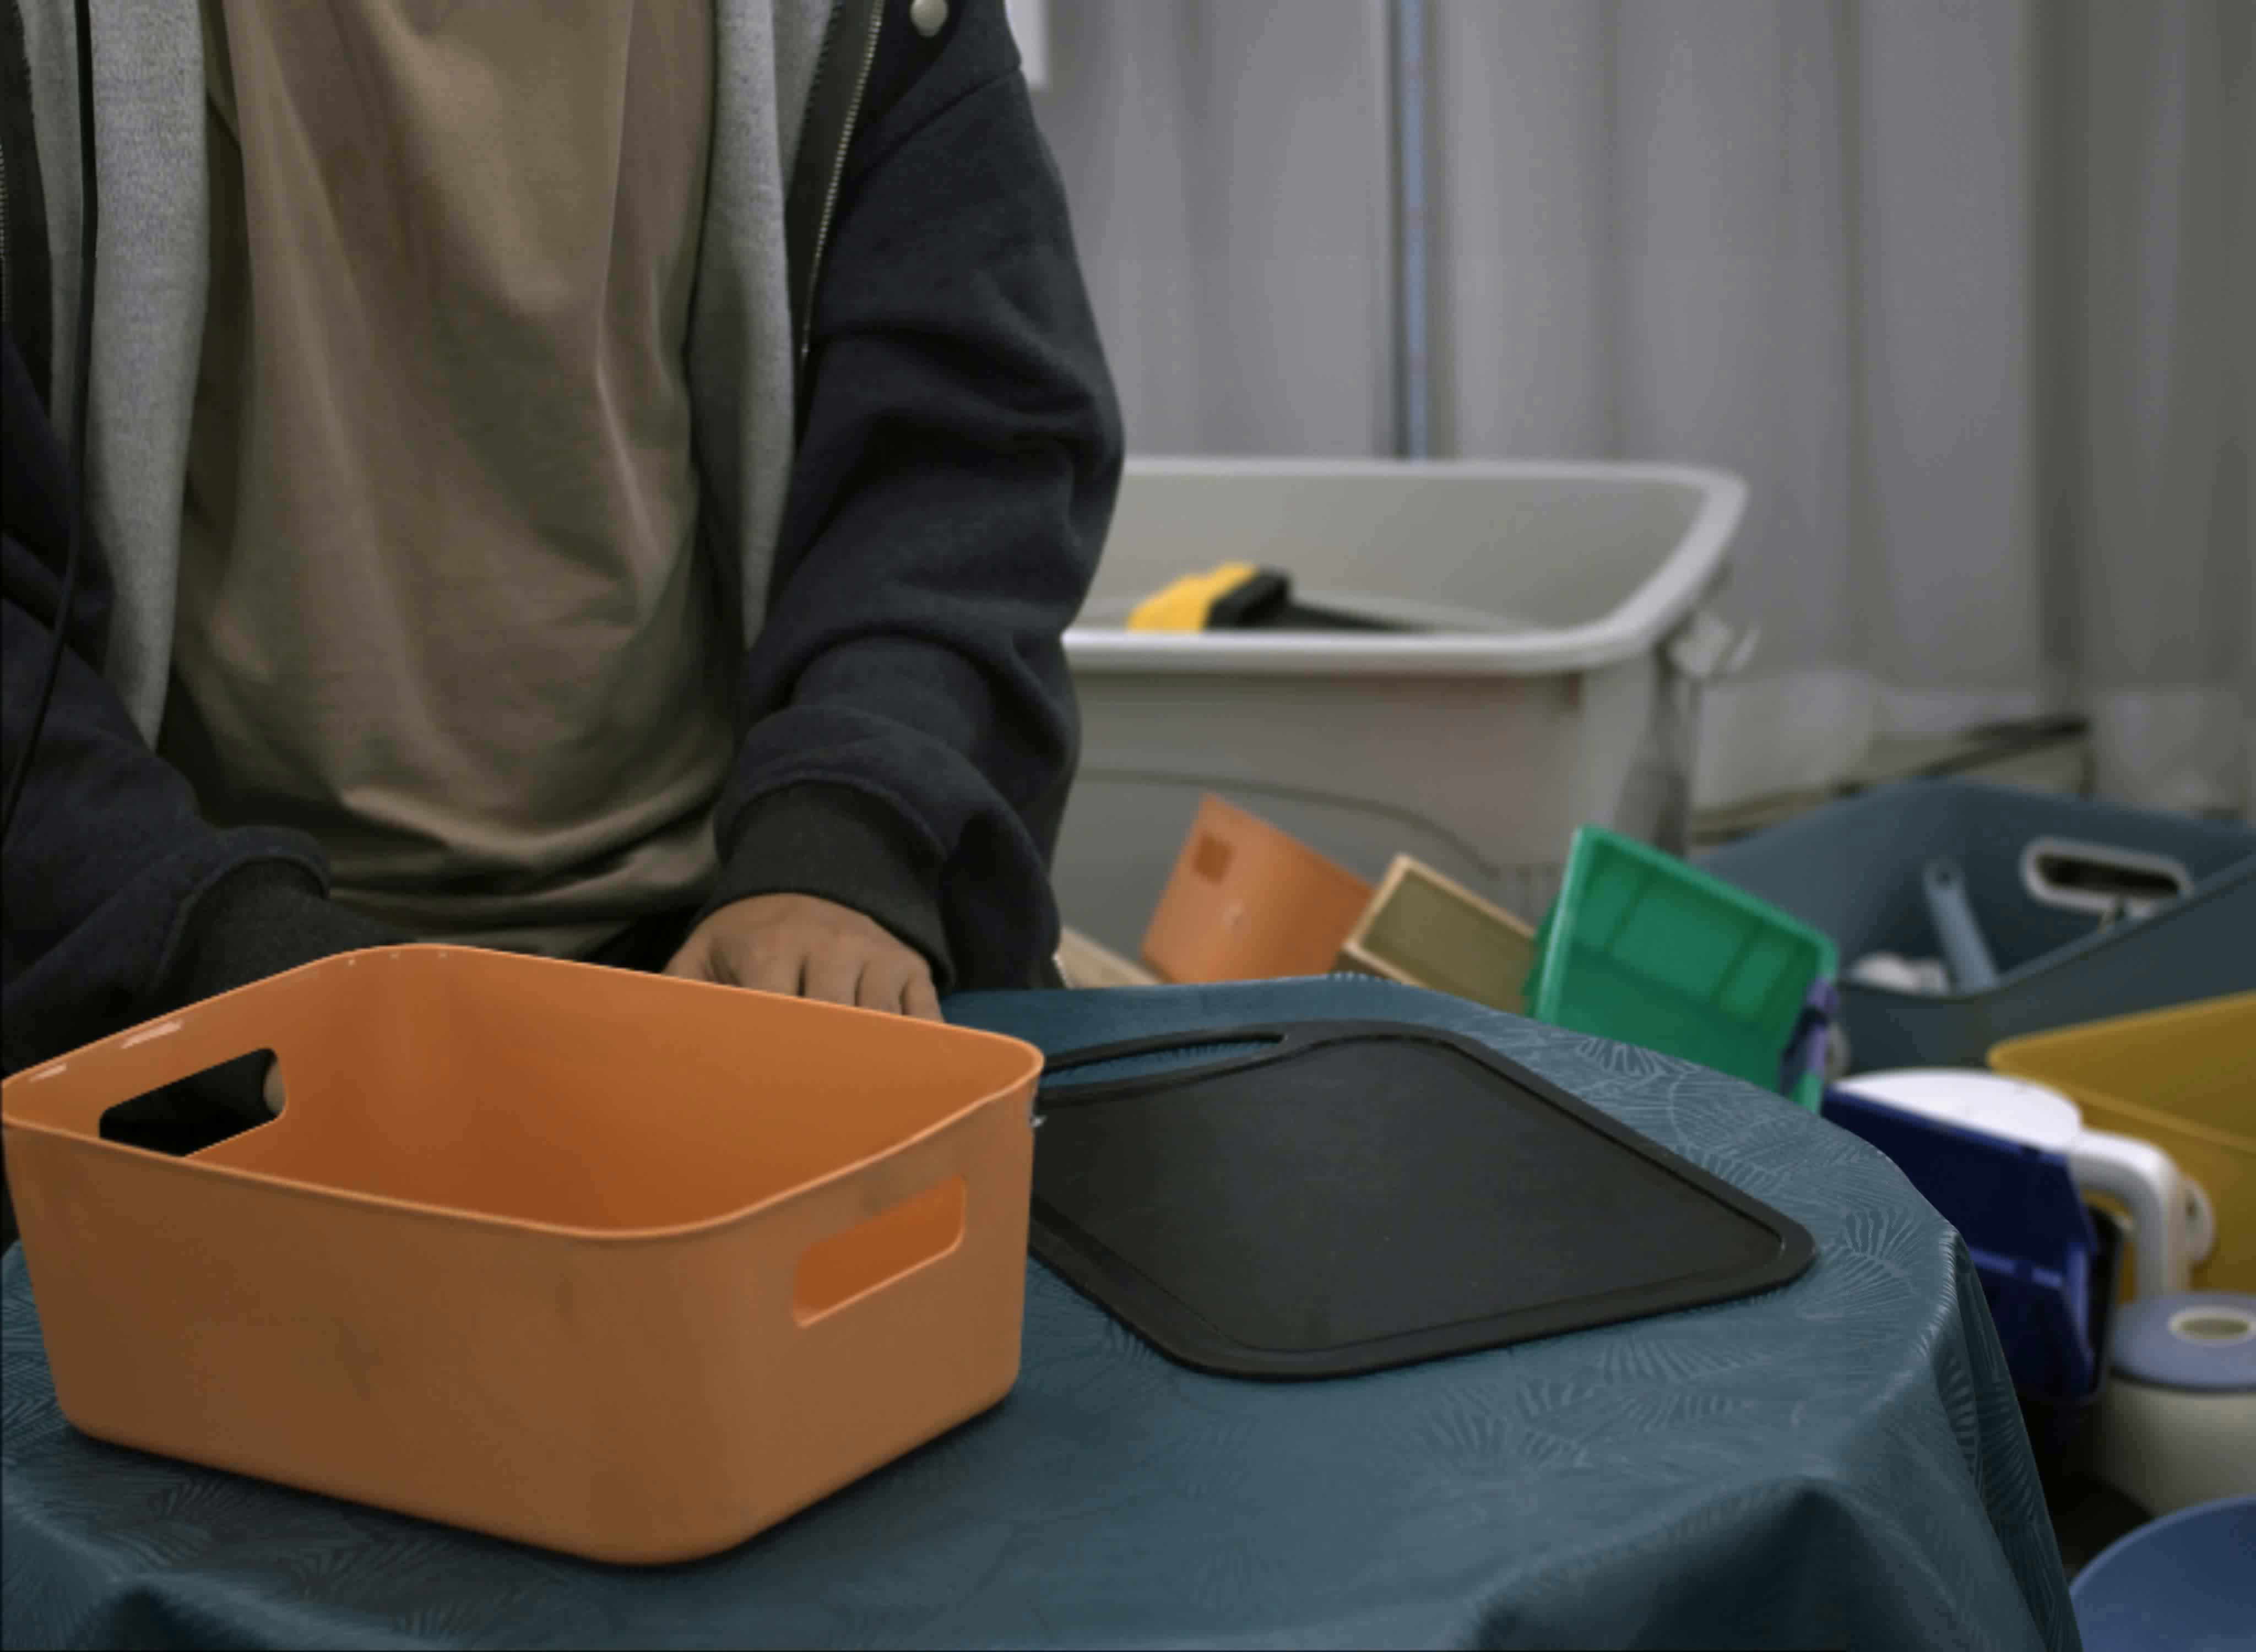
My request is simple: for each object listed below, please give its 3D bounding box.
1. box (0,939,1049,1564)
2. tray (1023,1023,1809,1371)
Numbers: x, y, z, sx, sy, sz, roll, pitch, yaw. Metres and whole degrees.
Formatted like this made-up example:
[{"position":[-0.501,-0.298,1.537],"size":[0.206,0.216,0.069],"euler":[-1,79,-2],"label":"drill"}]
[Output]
[{"position":[-0.168,0.116,1.542],"size":[0.274,0.102,0.199],"euler":[8,18,34],"label":"box"},{"position":[0.057,0.109,1.713],"size":[0.210,0.010,0.328],"euler":[-8,16,-21],"label":"tray"}]
